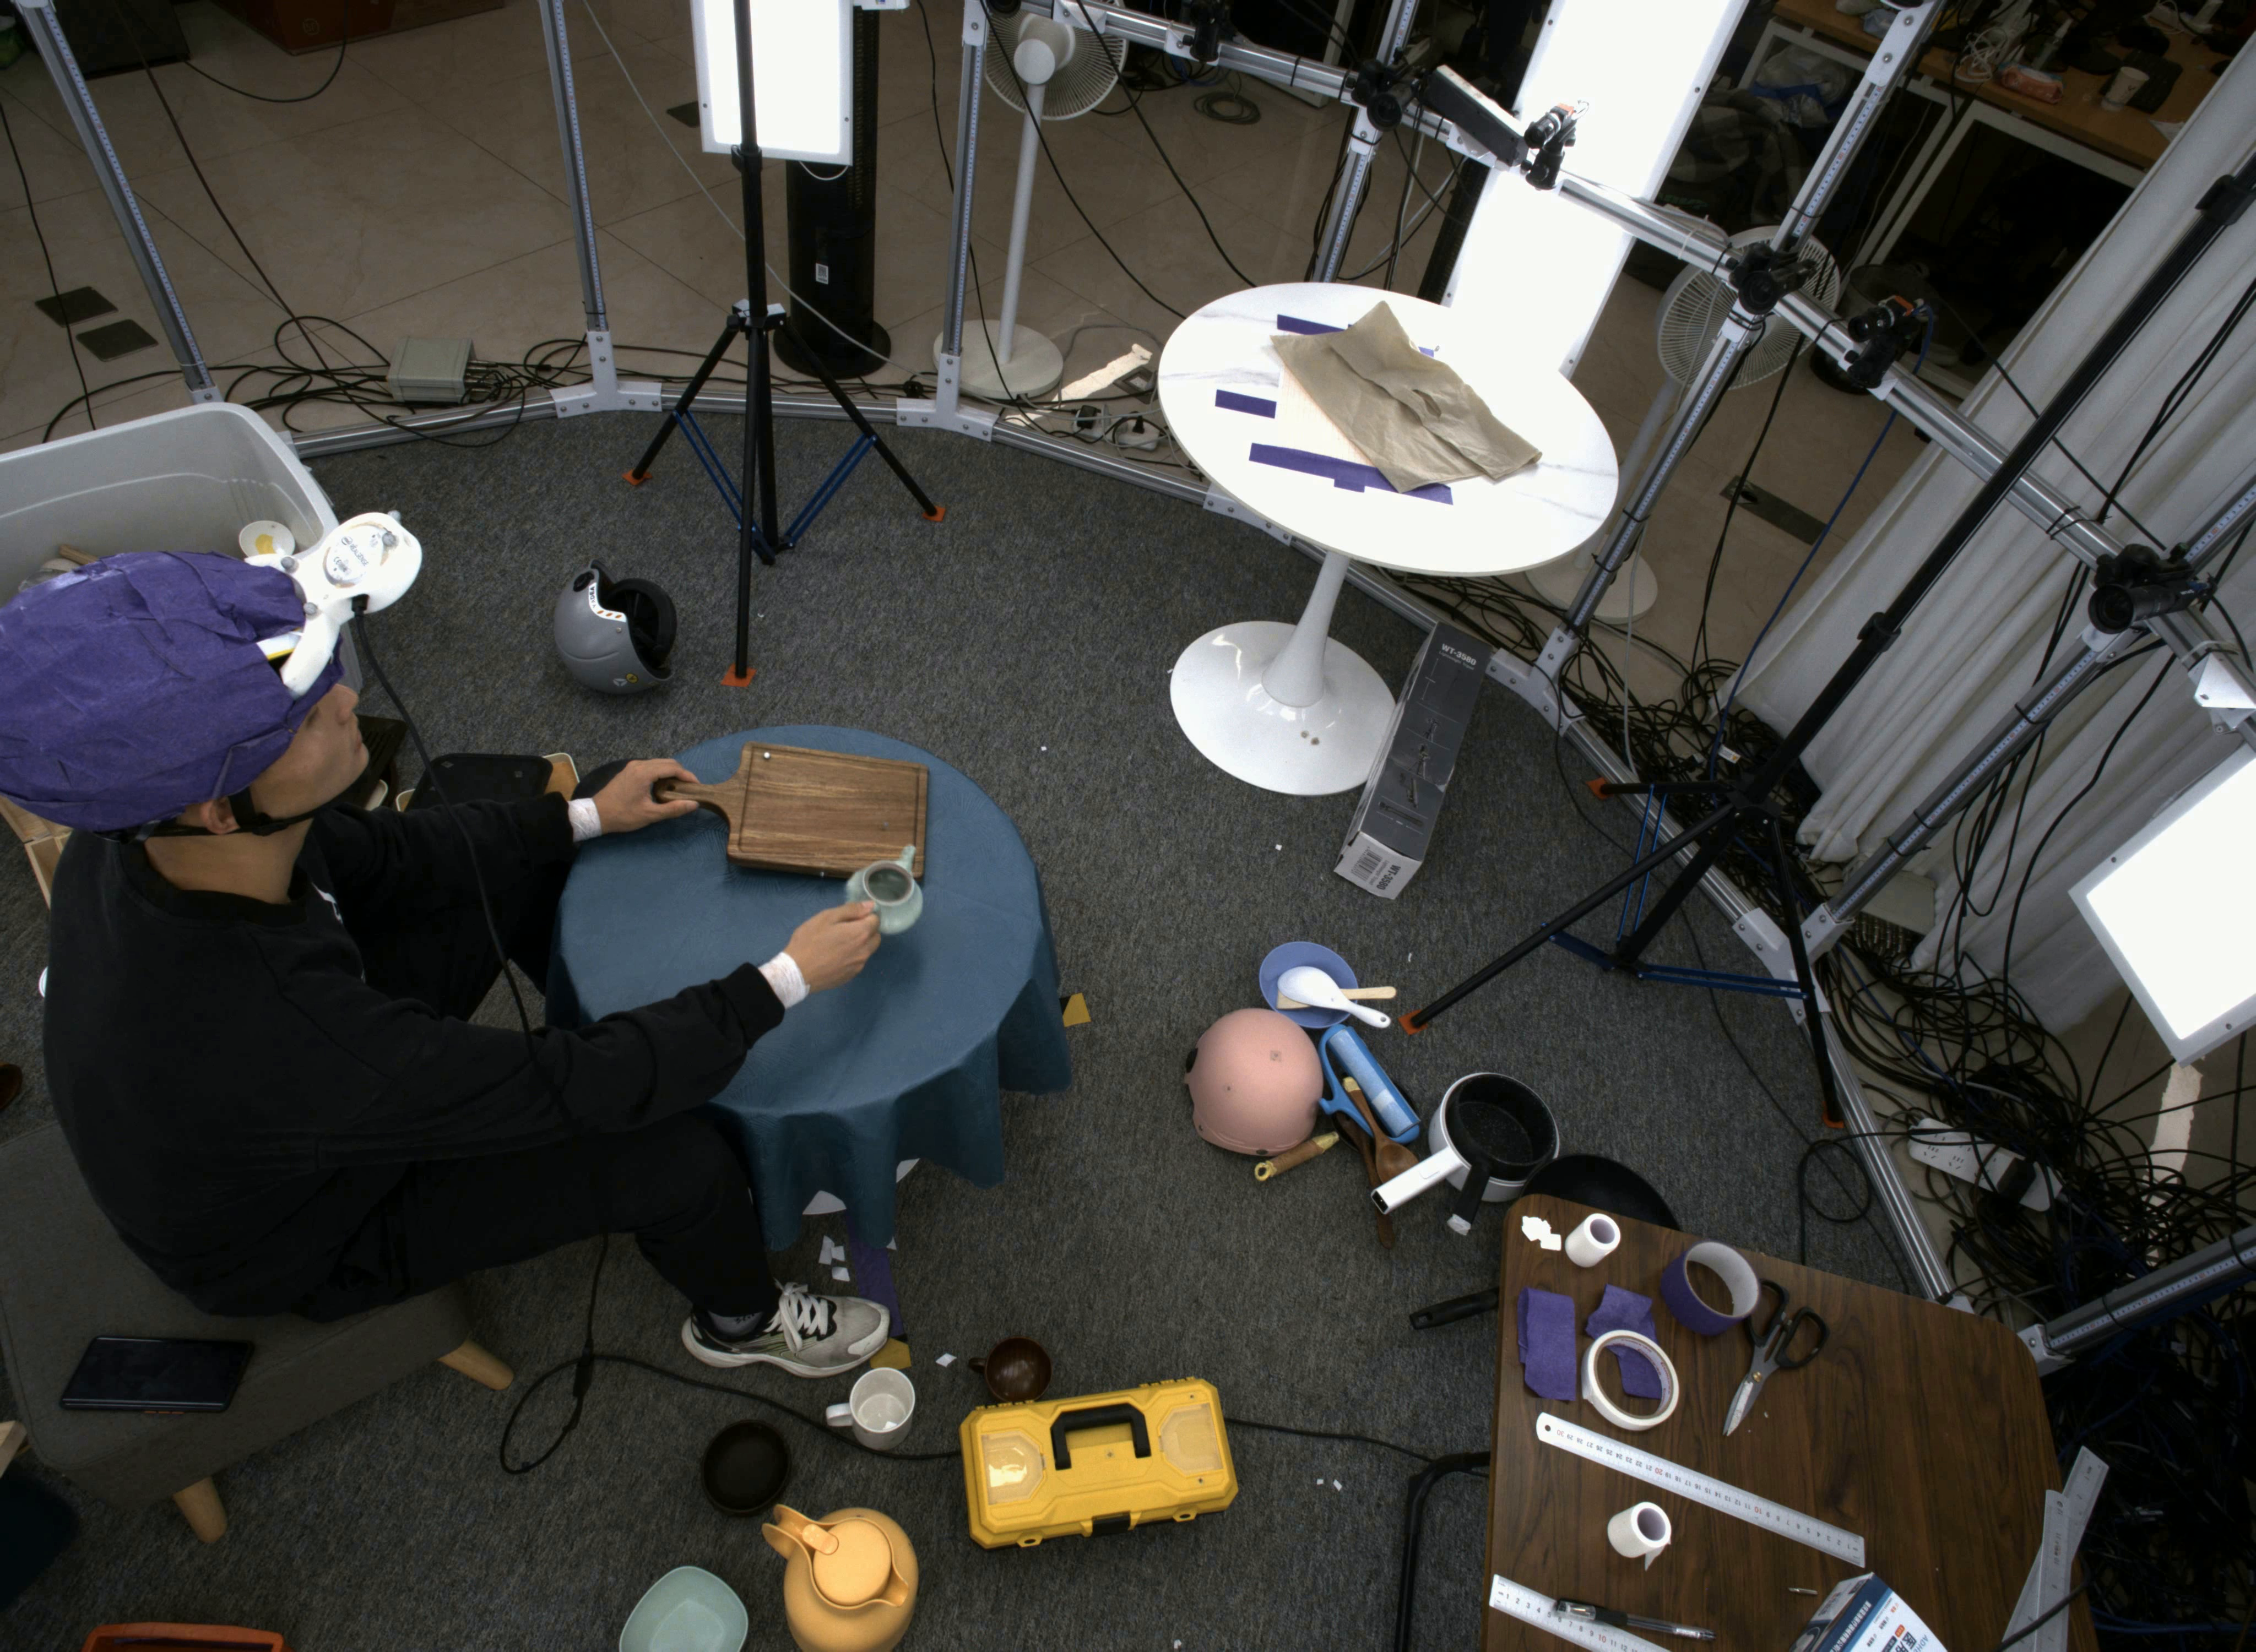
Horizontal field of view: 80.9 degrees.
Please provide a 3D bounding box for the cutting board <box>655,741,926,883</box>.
[{"bbox_3d":[-0.440,-0.025,1.700,0.354,0.023,0.197,7,52,-18],"label":"cutting board"}]

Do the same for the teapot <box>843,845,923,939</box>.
[{"bbox_3d":[-0.296,0.086,1.572,0.096,0.062,0.136,30,49,-3],"label":"teapot"}]
